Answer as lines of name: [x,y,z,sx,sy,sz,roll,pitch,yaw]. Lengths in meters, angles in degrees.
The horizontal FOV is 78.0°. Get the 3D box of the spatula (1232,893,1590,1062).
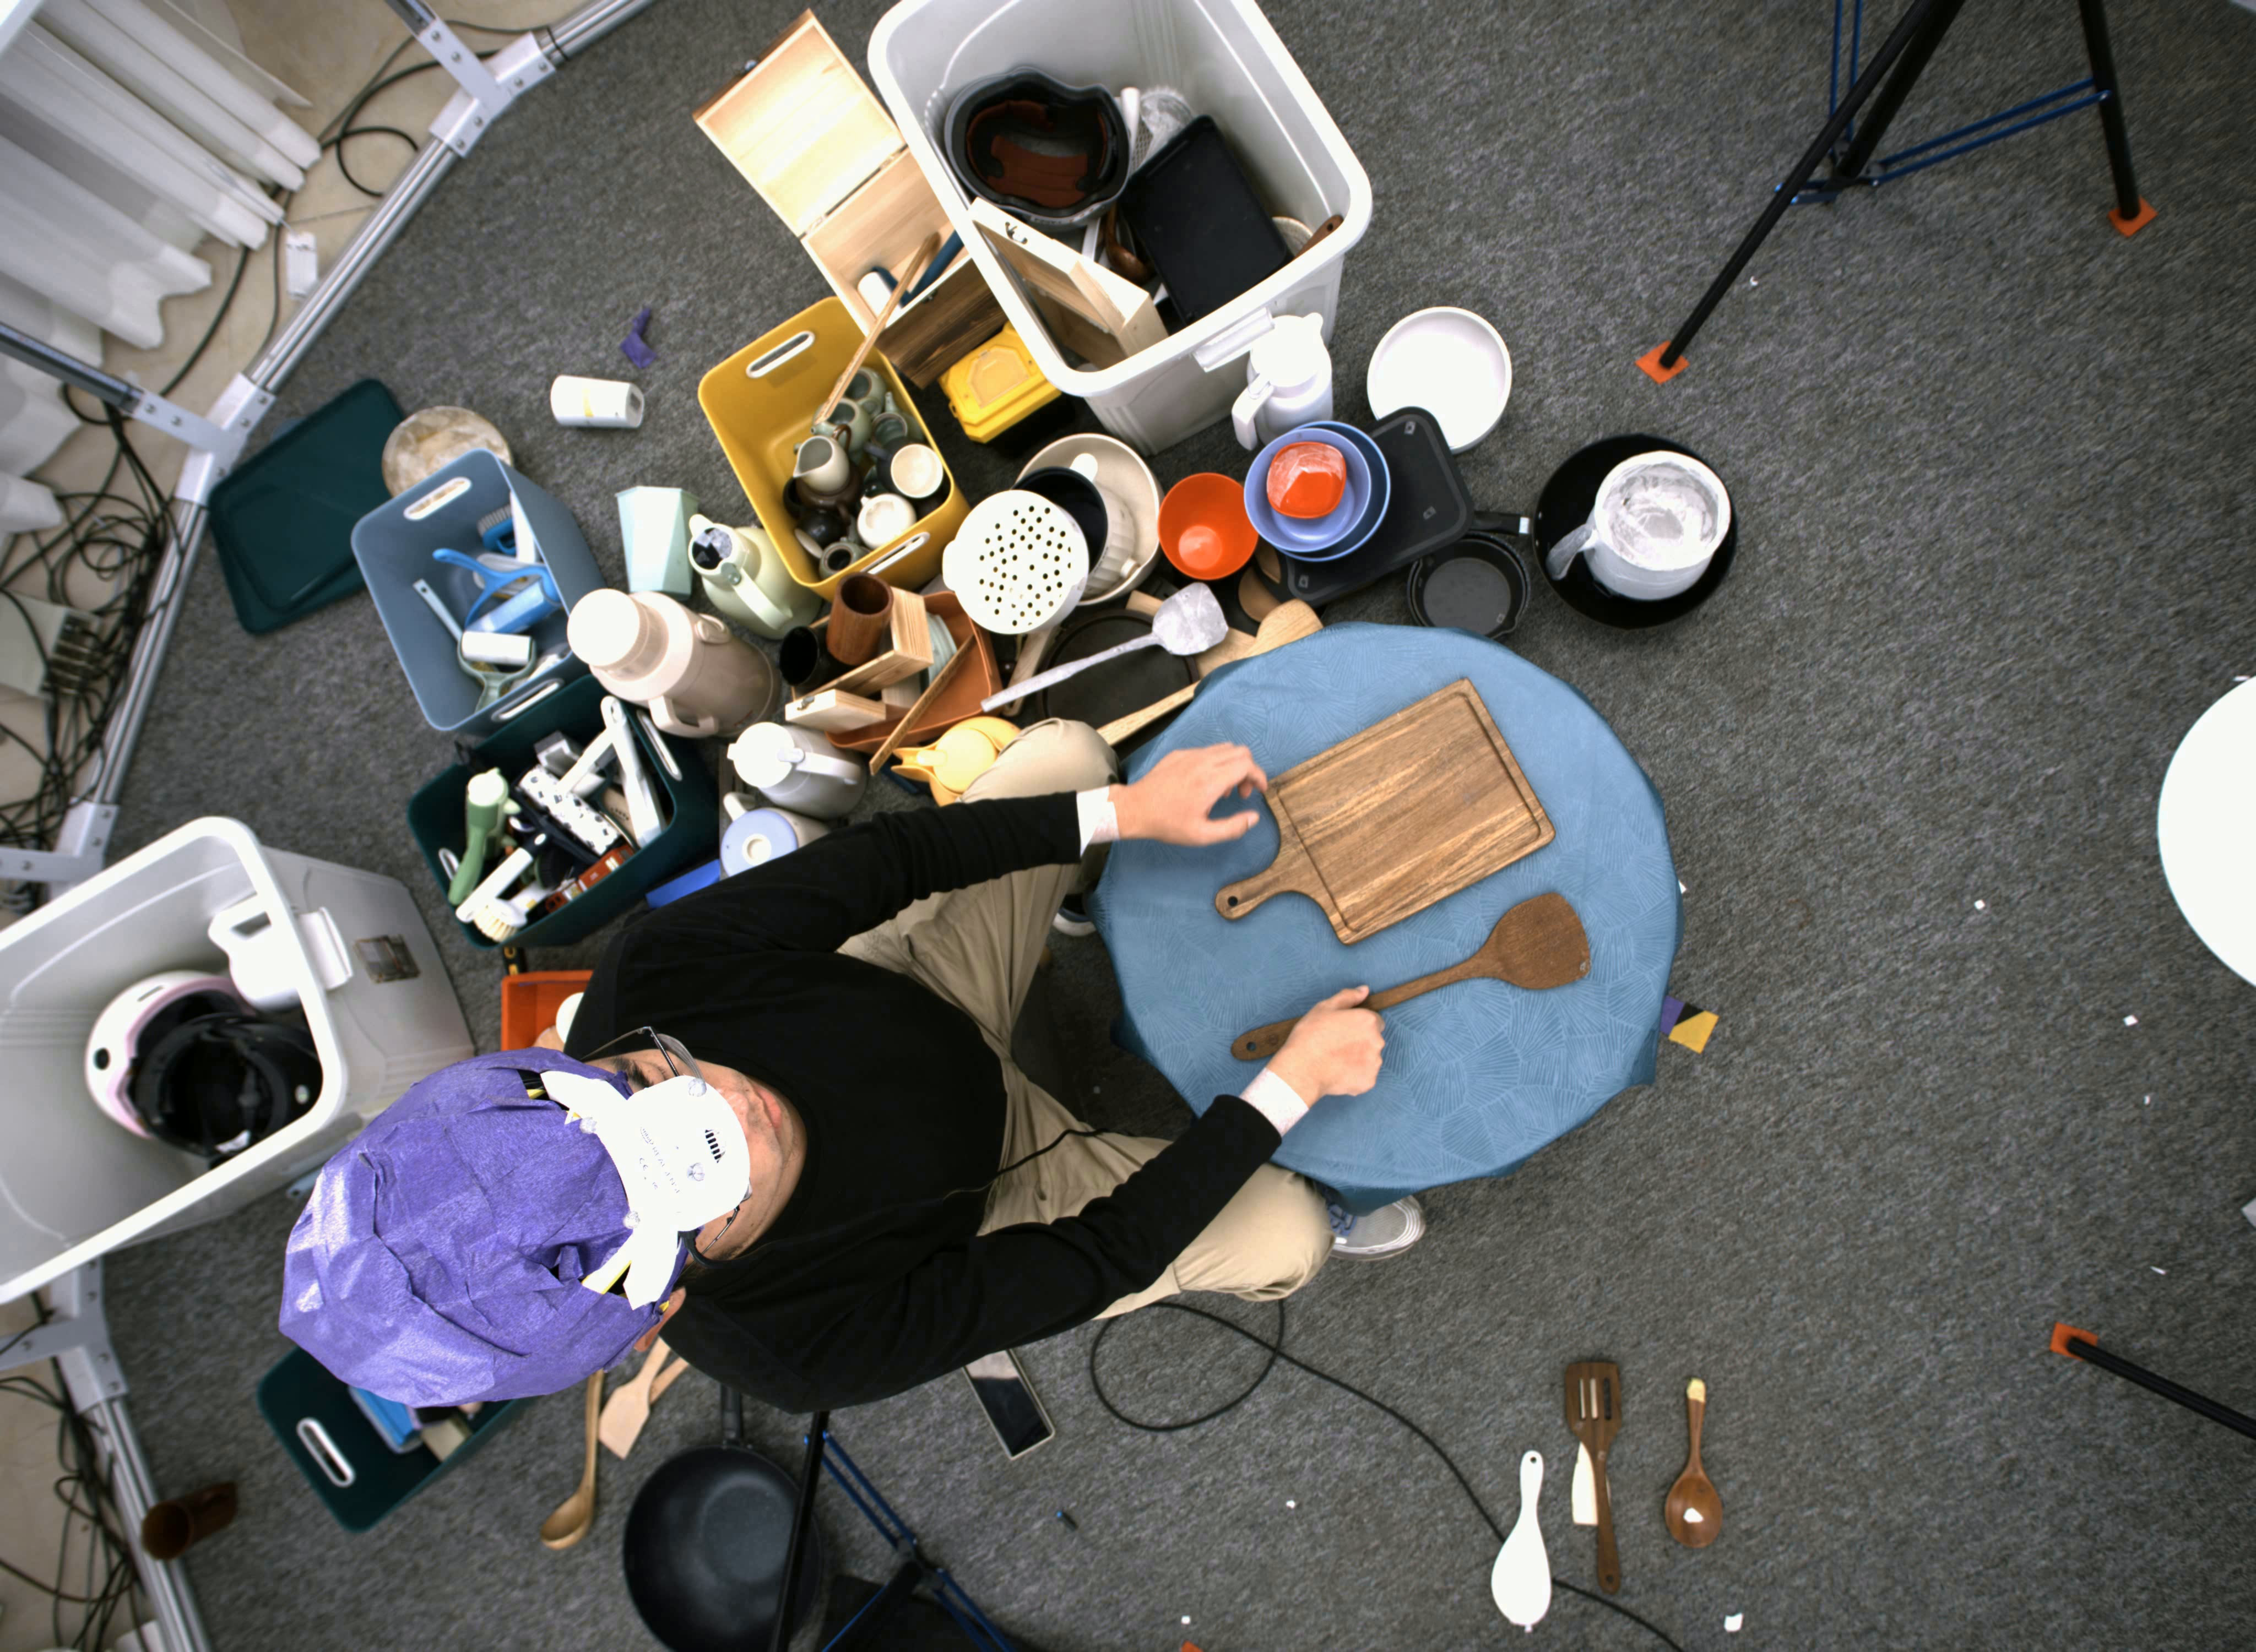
spatula: [0.289,0.172,1.443,0.388,0.016,0.095,-21,82,9]

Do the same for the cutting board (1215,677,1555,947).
cutting board: [0.248,0.007,1.457,0.354,0.023,0.200,-29,82,8]
